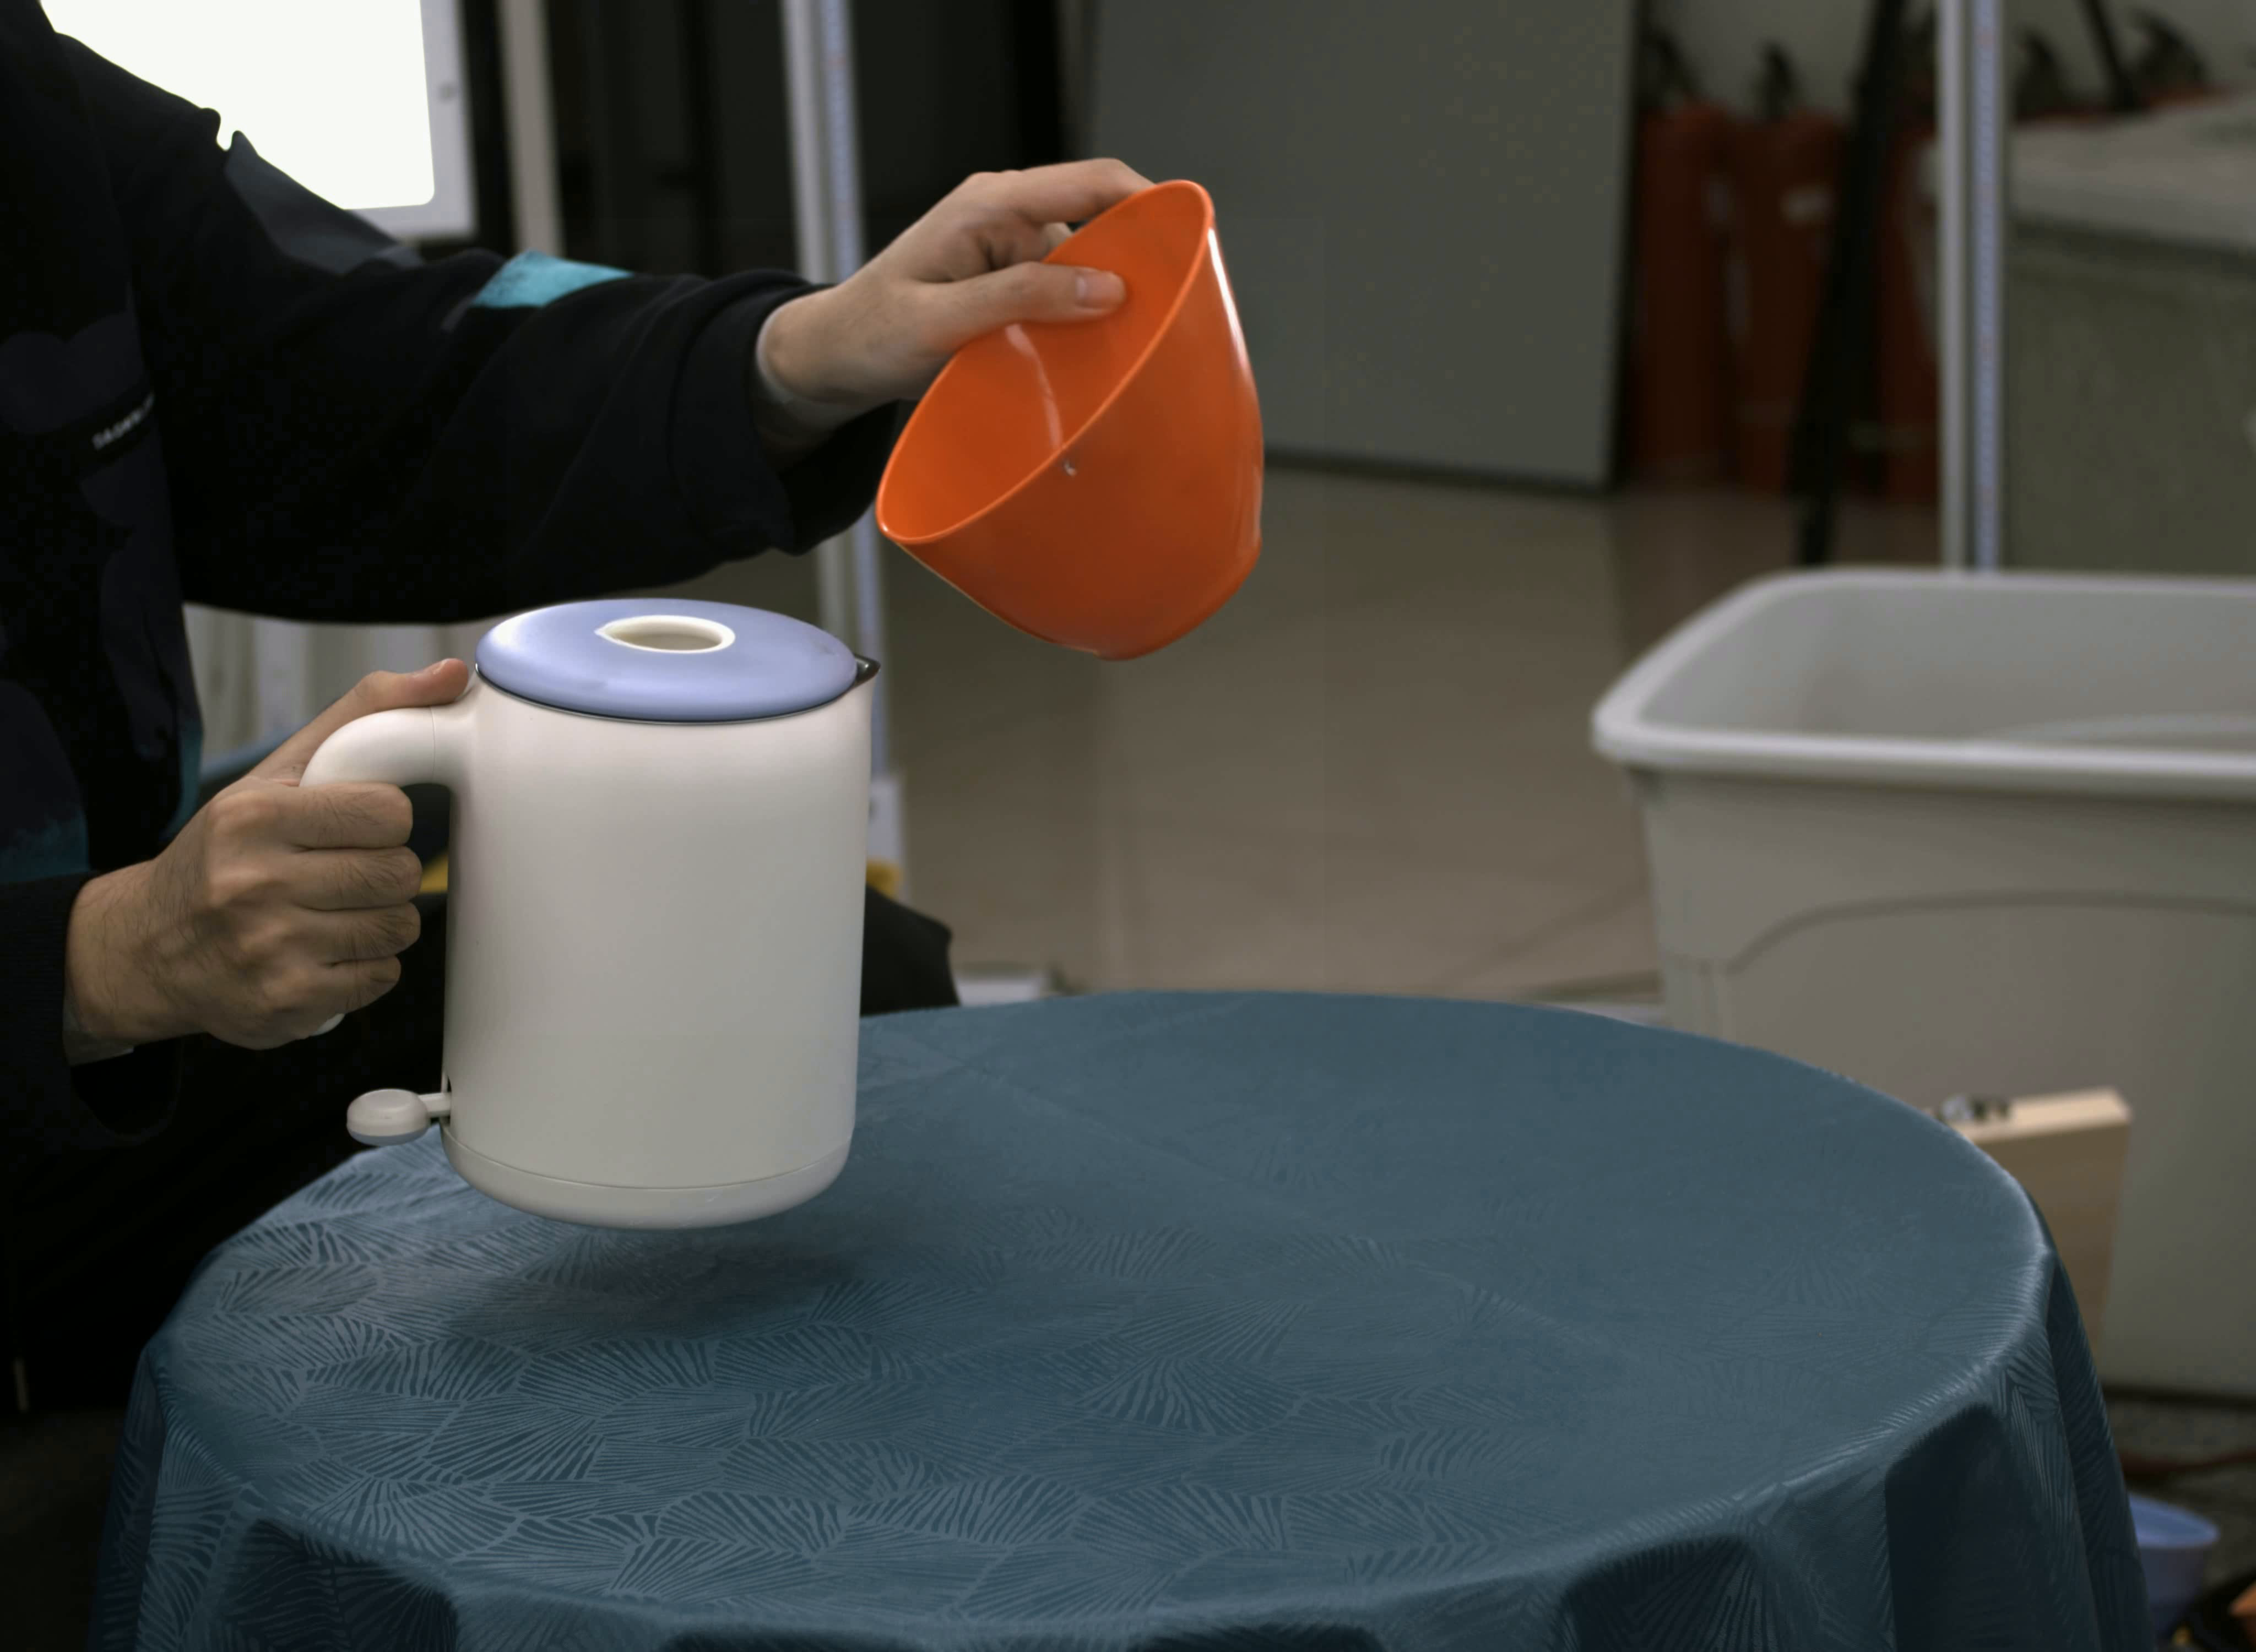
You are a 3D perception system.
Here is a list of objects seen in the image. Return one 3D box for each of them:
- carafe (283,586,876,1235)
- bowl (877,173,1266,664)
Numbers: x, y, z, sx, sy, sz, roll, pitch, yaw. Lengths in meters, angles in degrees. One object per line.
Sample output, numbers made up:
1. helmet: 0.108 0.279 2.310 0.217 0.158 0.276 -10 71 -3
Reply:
1. carafe: -0.168 0.027 1.674 0.187 0.184 0.133 -5 17 -17
2. bowl: -0.003 -0.118 1.705 0.148 0.104 0.148 -32 23 14
